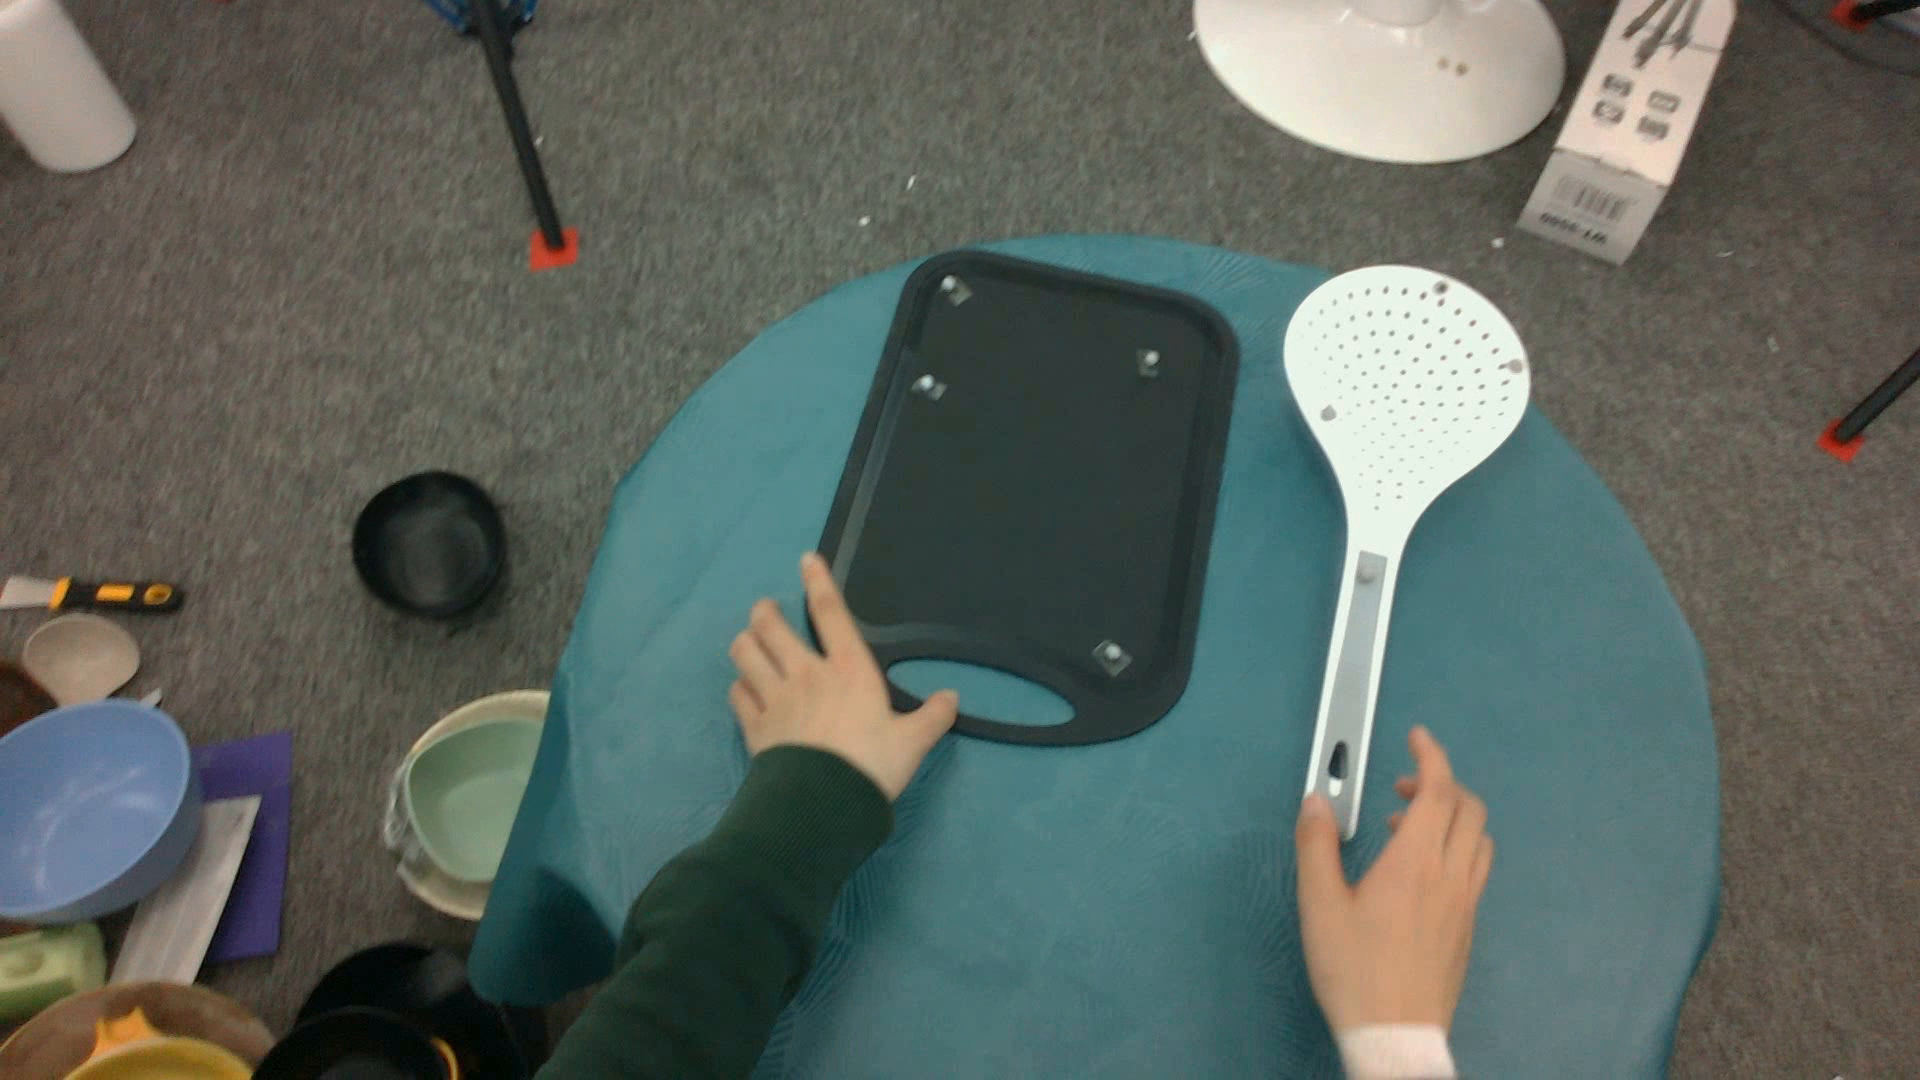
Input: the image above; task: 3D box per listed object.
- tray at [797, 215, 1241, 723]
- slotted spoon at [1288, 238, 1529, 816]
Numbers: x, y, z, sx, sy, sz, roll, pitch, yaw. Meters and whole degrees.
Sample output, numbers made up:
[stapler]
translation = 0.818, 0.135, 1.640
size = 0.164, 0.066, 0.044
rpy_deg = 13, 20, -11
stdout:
[tray]
translation = 0.040, -0.051, 0.774
size = 0.211, 0.010, 0.327
rpy_deg = 13, 61, 4
[slotted spoon]
translation = 0.225, -0.019, 0.747
size = 0.136, 0.045, 0.351
rpy_deg = 15, 61, 7
